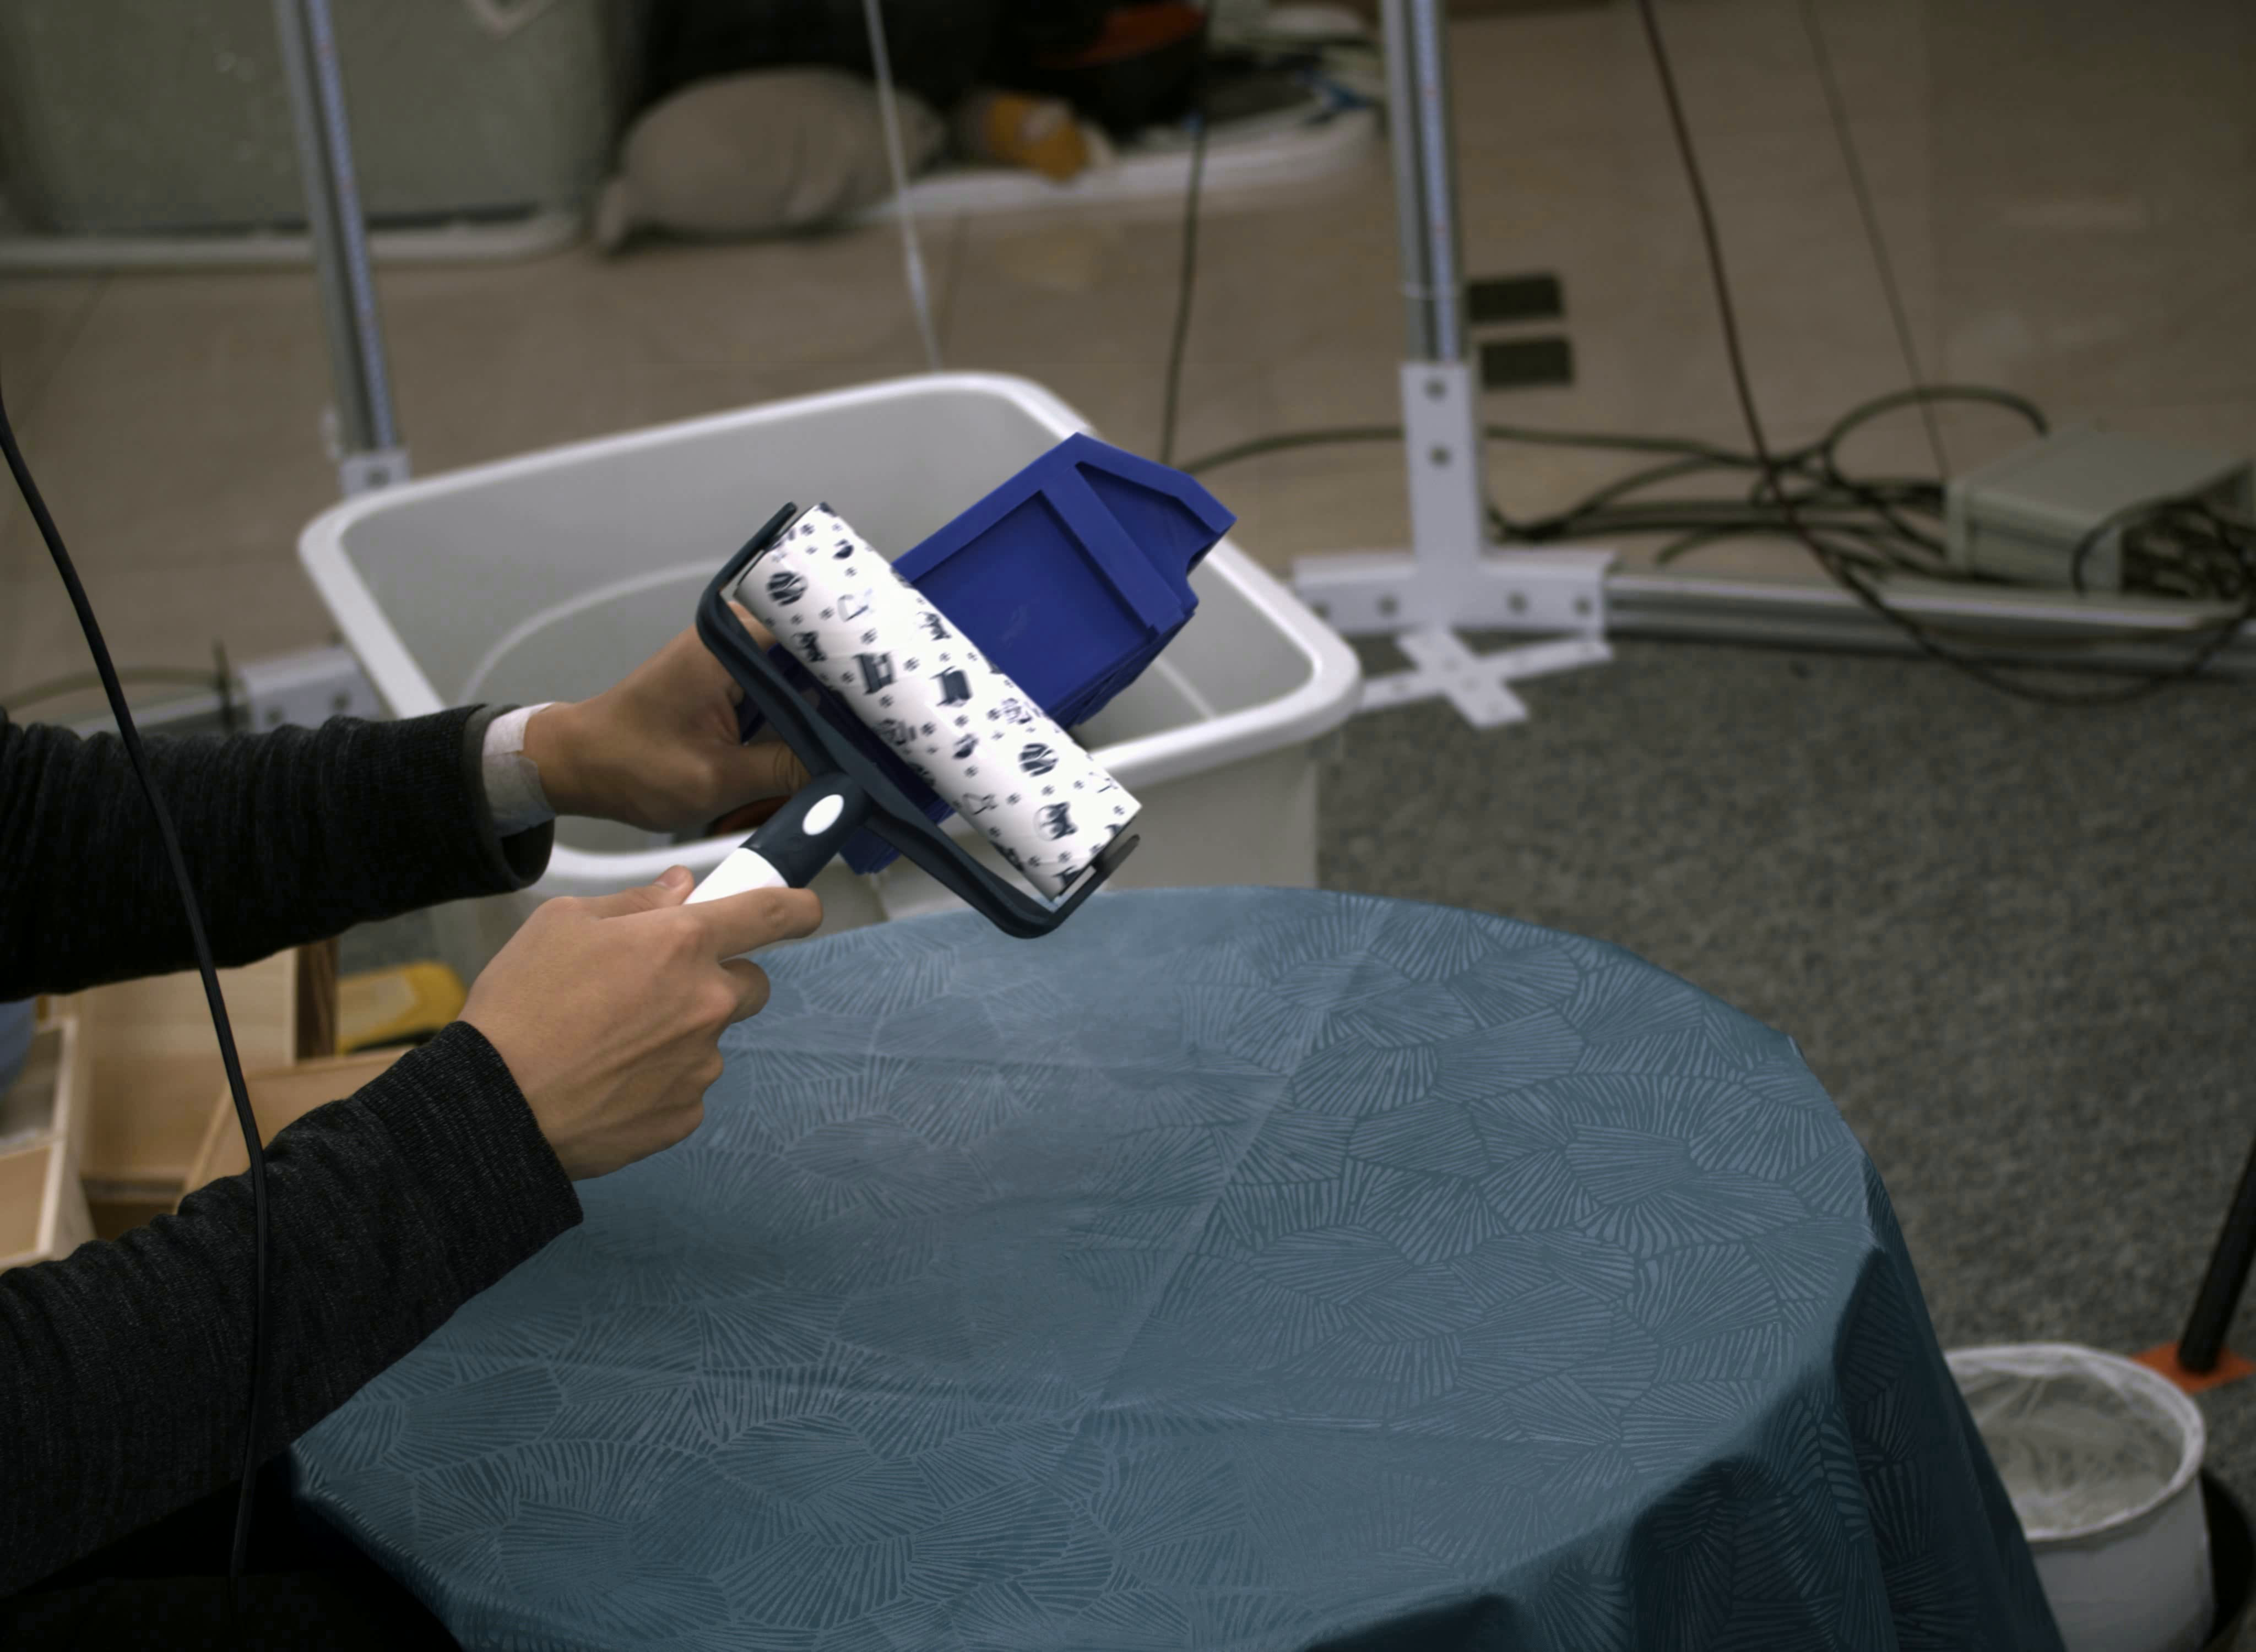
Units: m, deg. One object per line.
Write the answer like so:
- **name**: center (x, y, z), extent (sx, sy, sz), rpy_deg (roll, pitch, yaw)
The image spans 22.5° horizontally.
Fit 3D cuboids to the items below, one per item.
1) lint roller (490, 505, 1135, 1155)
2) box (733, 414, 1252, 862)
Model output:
- **lint roller**: center (-0.133, 0.024, 1.987), extent (0.245, 0.176, 0.051), rpy_deg (-47, 2, -23)
- **box**: center (-0.048, -0.072, 2.132), extent (0.178, 0.082, 0.125), rpy_deg (-39, -3, -20)
